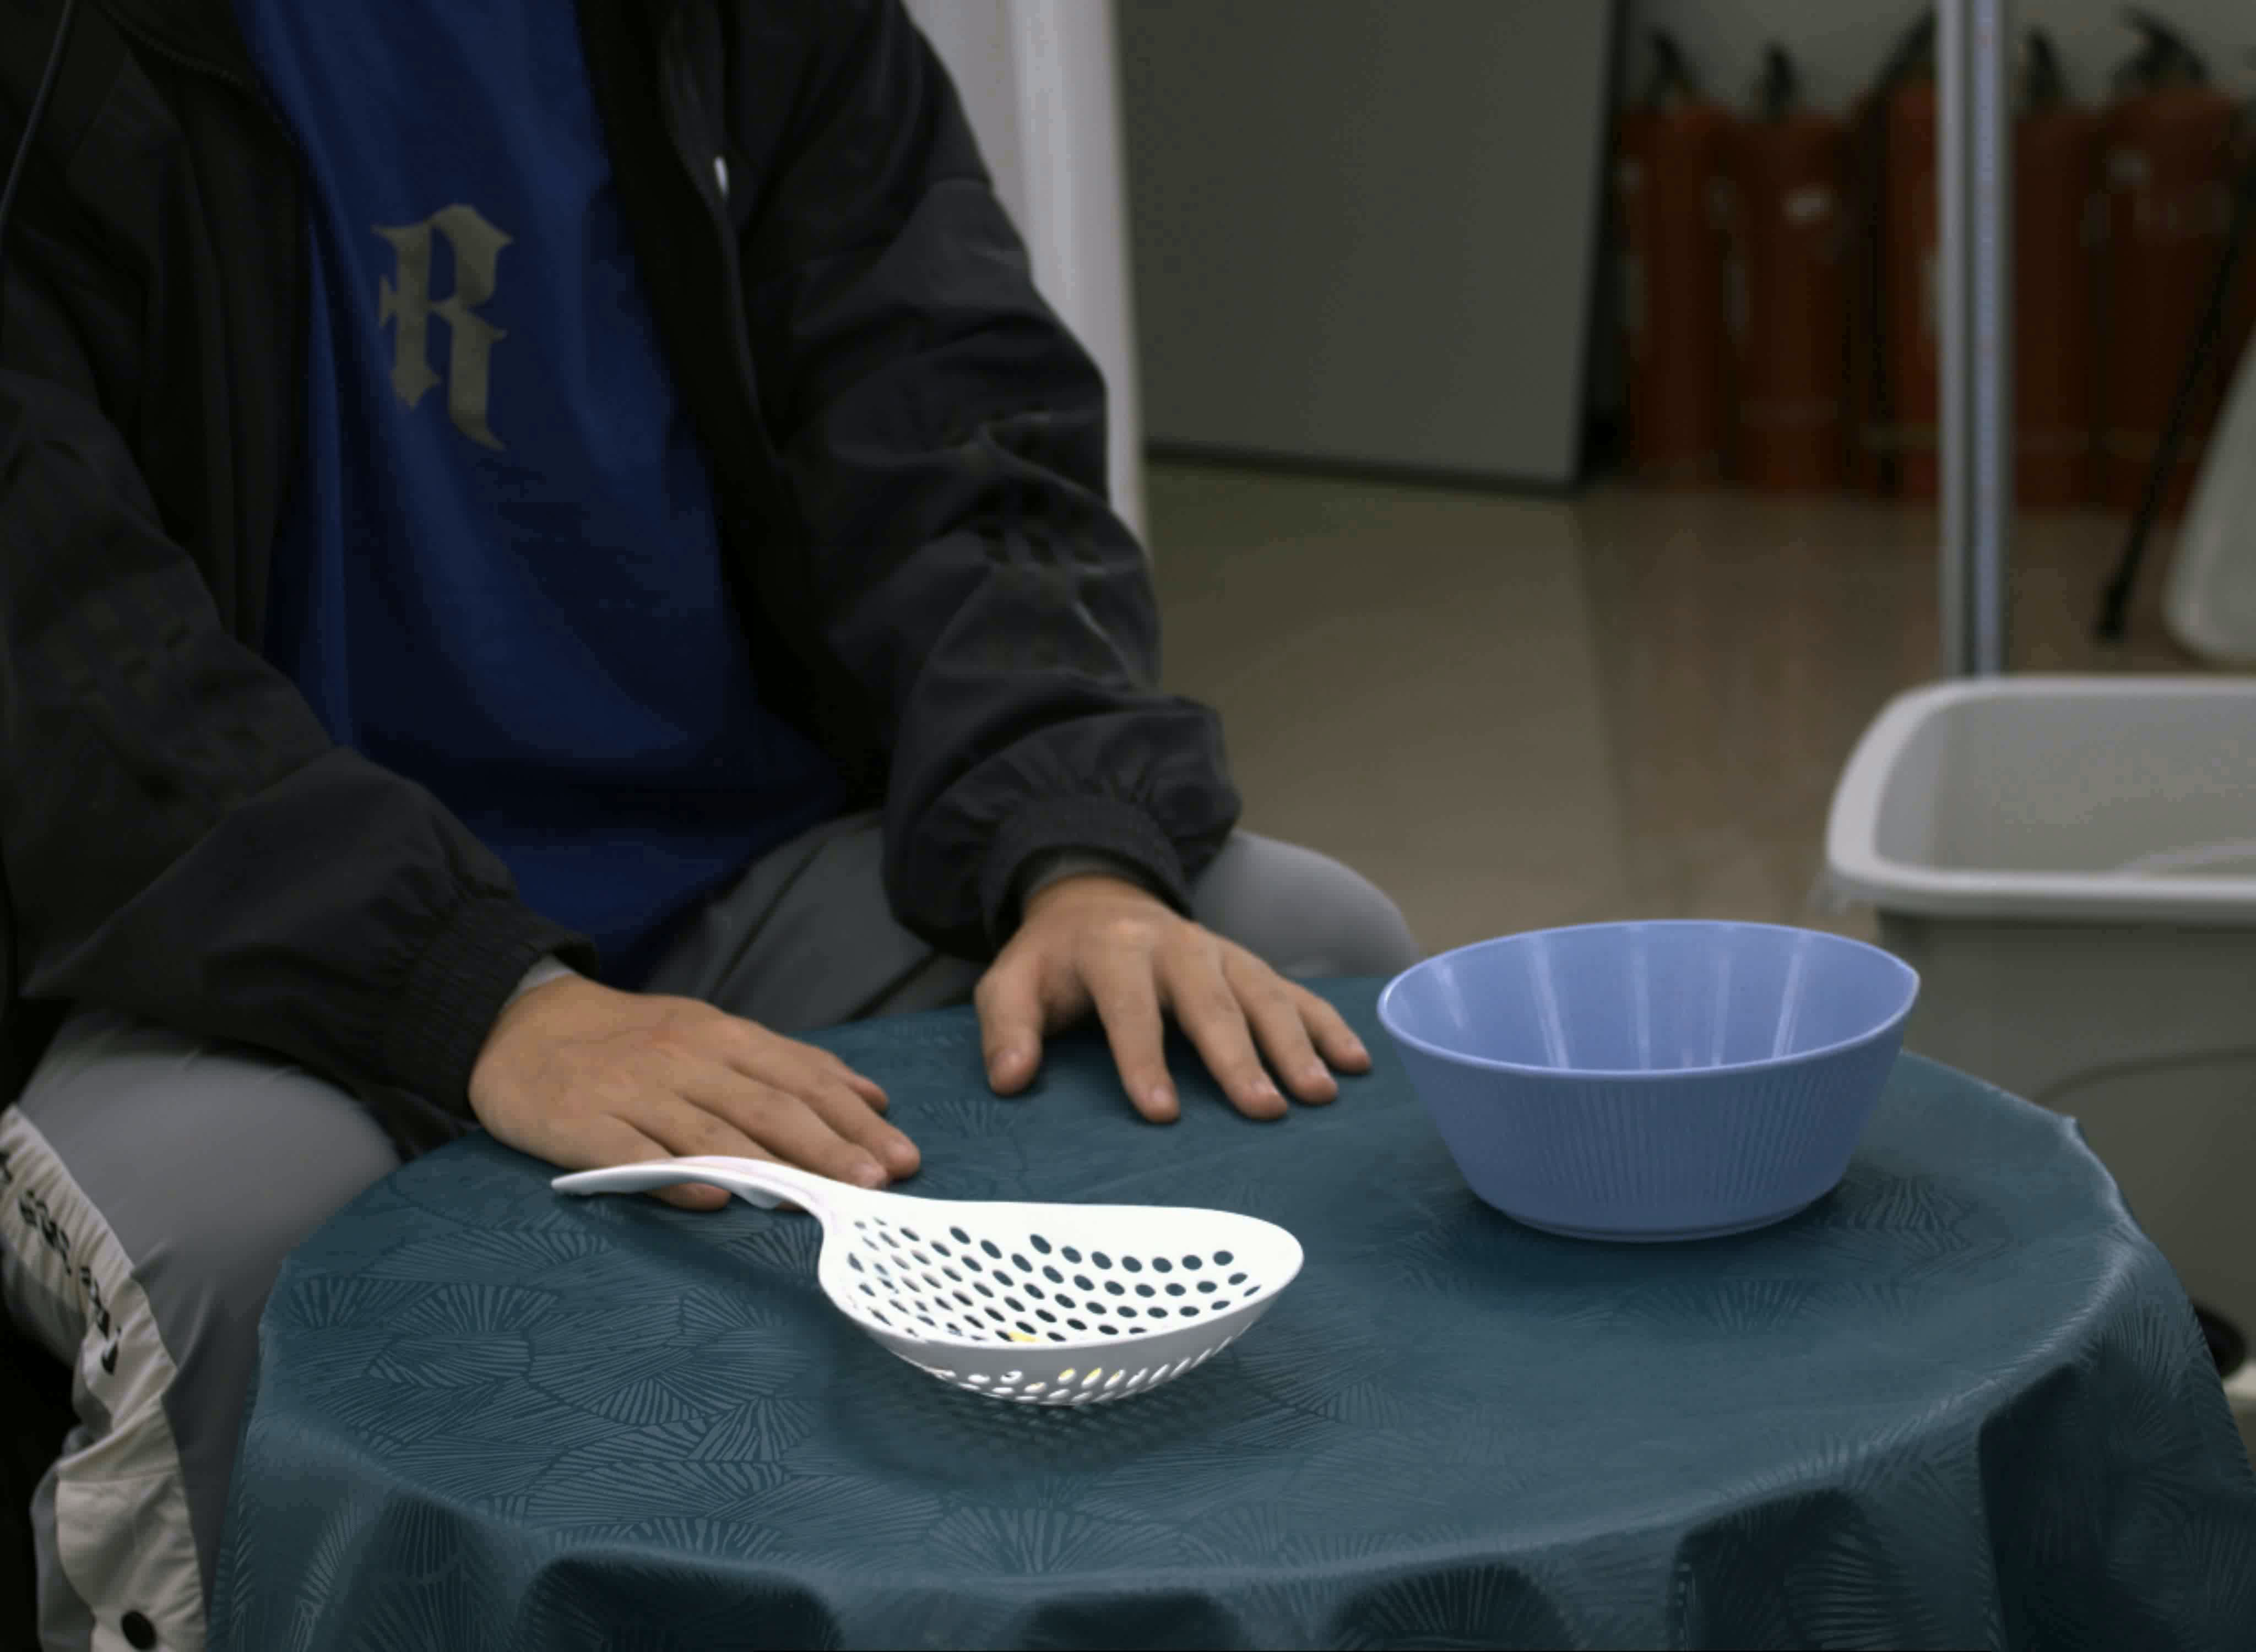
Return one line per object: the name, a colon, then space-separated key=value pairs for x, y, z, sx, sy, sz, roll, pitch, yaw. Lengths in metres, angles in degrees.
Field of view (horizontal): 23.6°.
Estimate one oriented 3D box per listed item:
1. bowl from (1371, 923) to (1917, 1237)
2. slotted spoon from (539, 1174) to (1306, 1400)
bowl: x=0.166 y=0.083 z=1.727 sx=0.174 sy=0.071 sz=0.176 roll=-4 pitch=13 yaw=0
slotted spoon: x=-0.081 y=0.130 z=1.670 sx=0.134 sy=0.051 sz=0.351 roll=-18 pitch=19 yaw=-34
